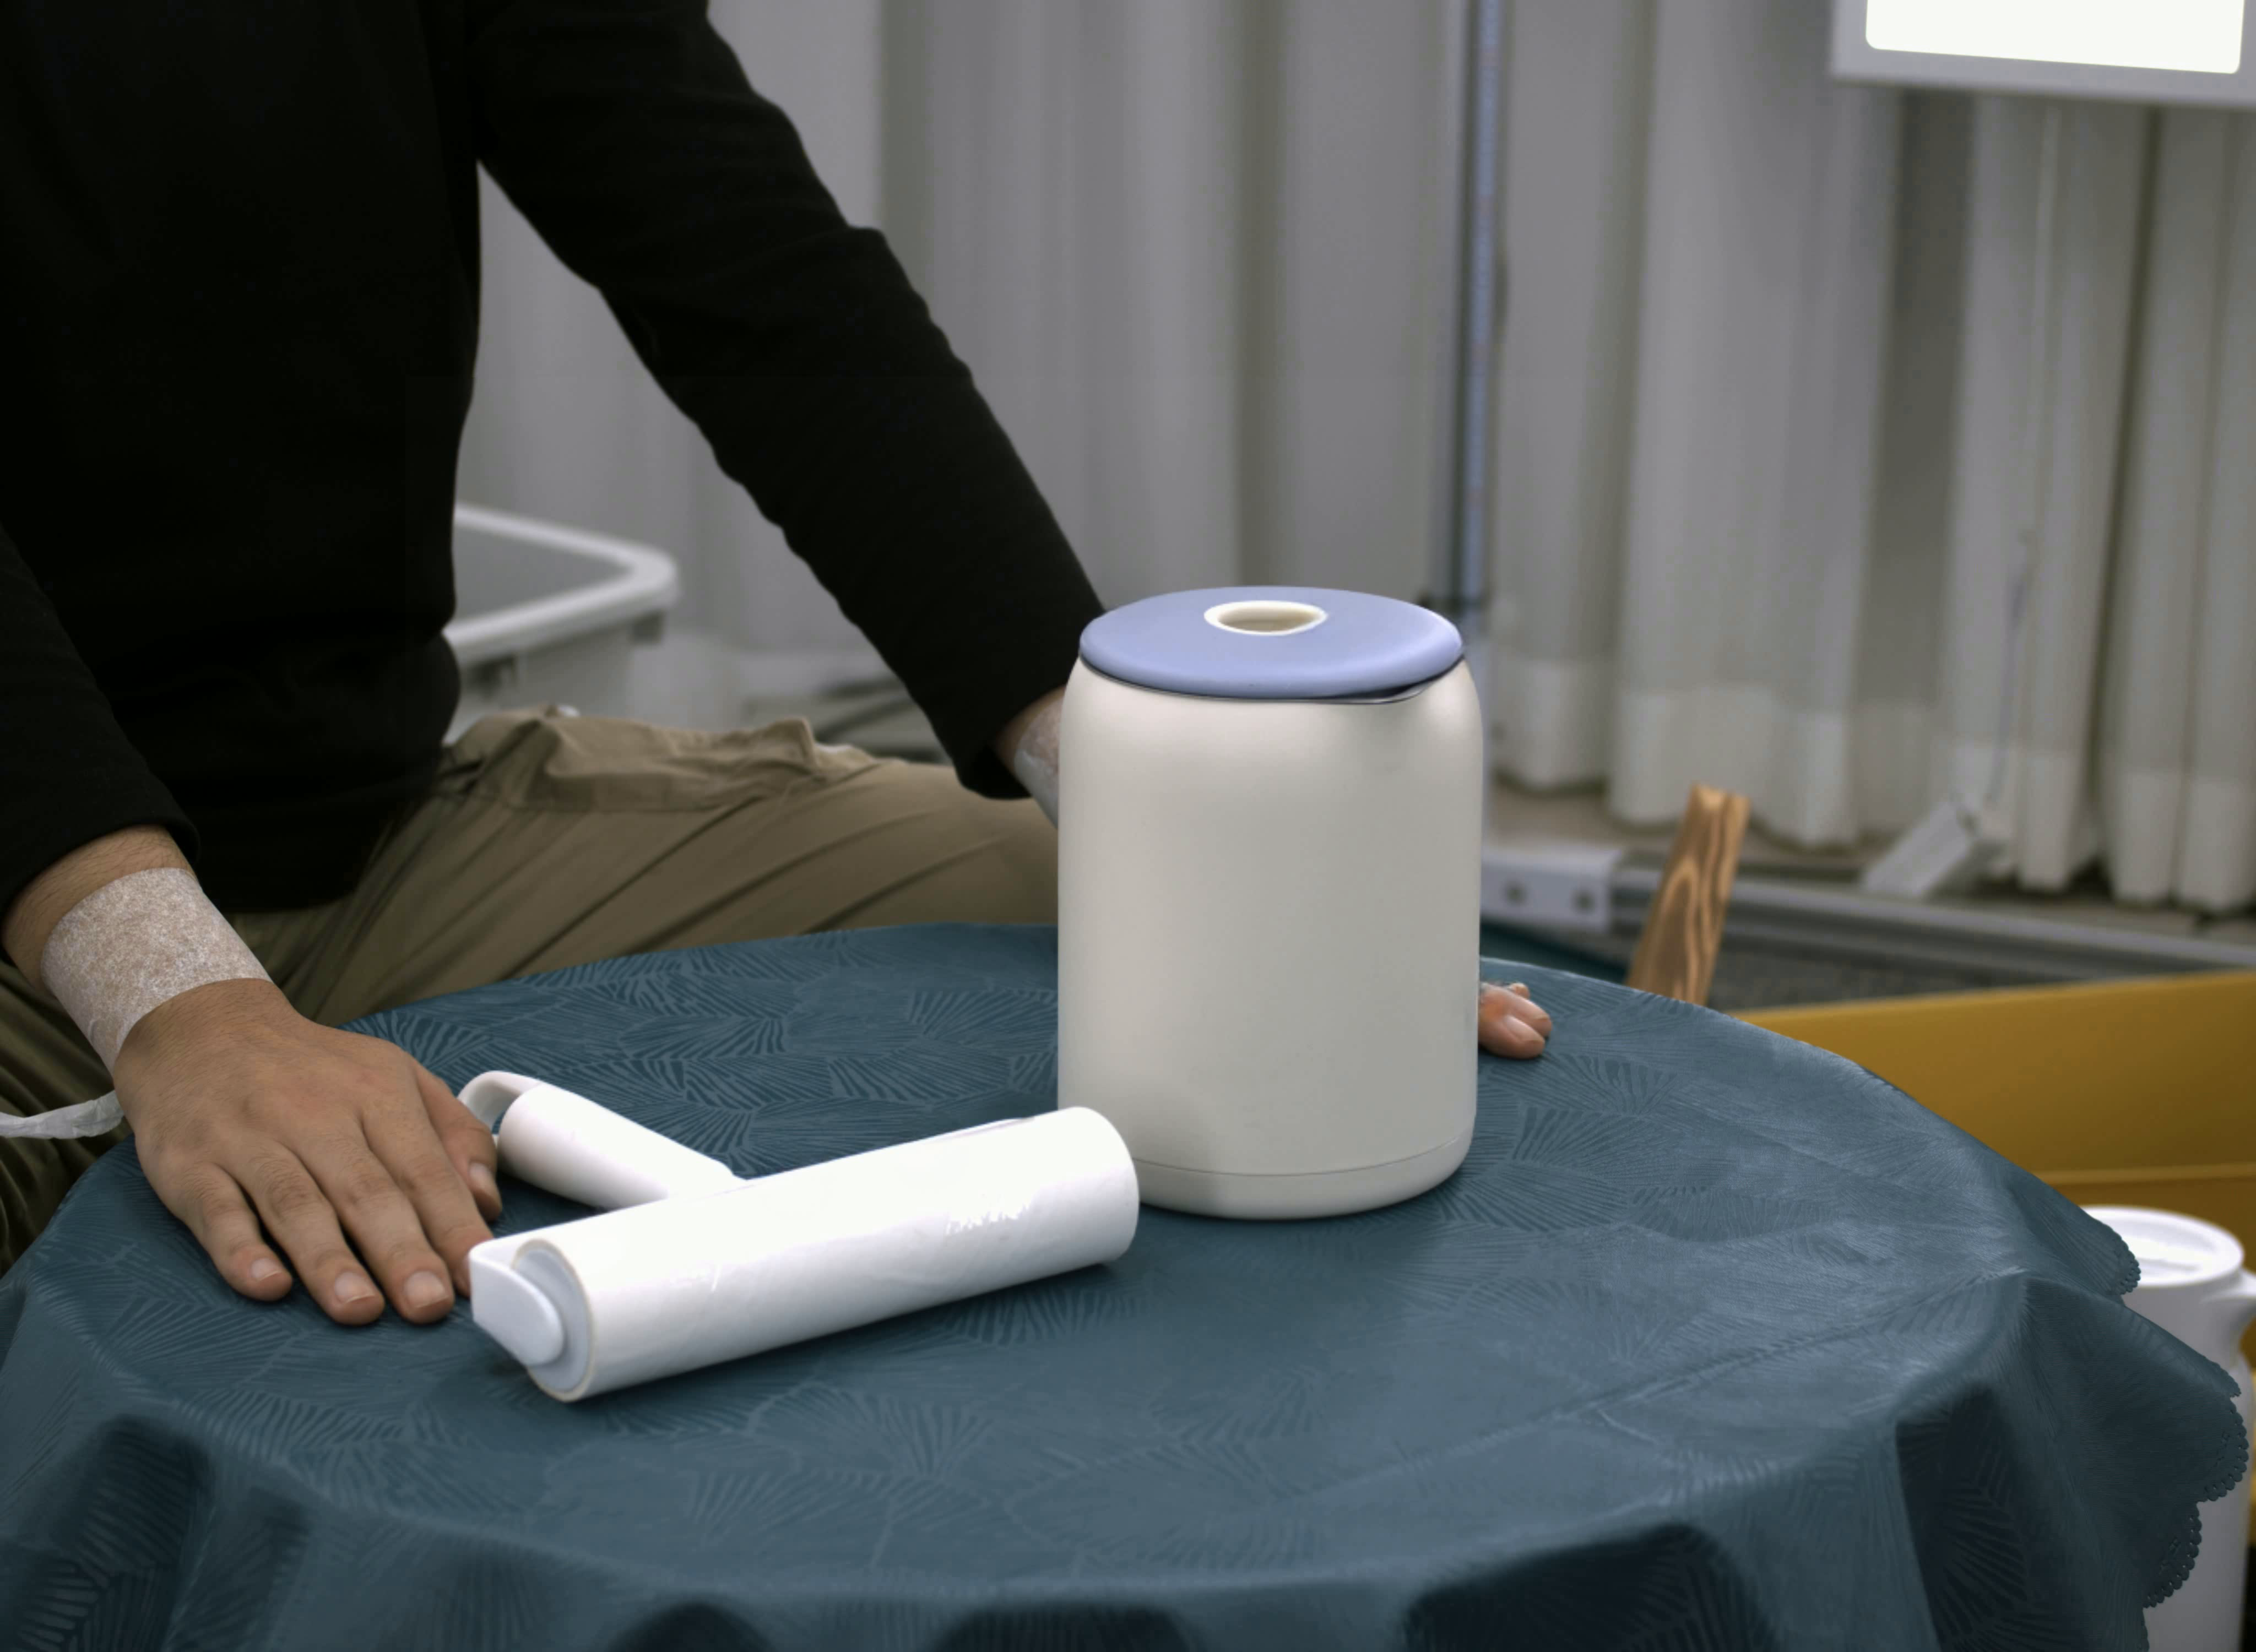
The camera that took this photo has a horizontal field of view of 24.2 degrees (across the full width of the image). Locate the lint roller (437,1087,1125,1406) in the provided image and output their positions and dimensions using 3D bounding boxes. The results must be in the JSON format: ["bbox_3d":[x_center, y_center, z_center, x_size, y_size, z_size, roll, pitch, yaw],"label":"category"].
[{"bbox_3d":[-0.141,0.103,1.568,0.204,0.049,0.222,-13,20,-37],"label":"lint roller"}]

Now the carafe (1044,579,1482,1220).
[{"bbox_3d":[0.030,0.016,1.646,0.133,0.184,0.188,-9,16,-32],"label":"carafe"}]
